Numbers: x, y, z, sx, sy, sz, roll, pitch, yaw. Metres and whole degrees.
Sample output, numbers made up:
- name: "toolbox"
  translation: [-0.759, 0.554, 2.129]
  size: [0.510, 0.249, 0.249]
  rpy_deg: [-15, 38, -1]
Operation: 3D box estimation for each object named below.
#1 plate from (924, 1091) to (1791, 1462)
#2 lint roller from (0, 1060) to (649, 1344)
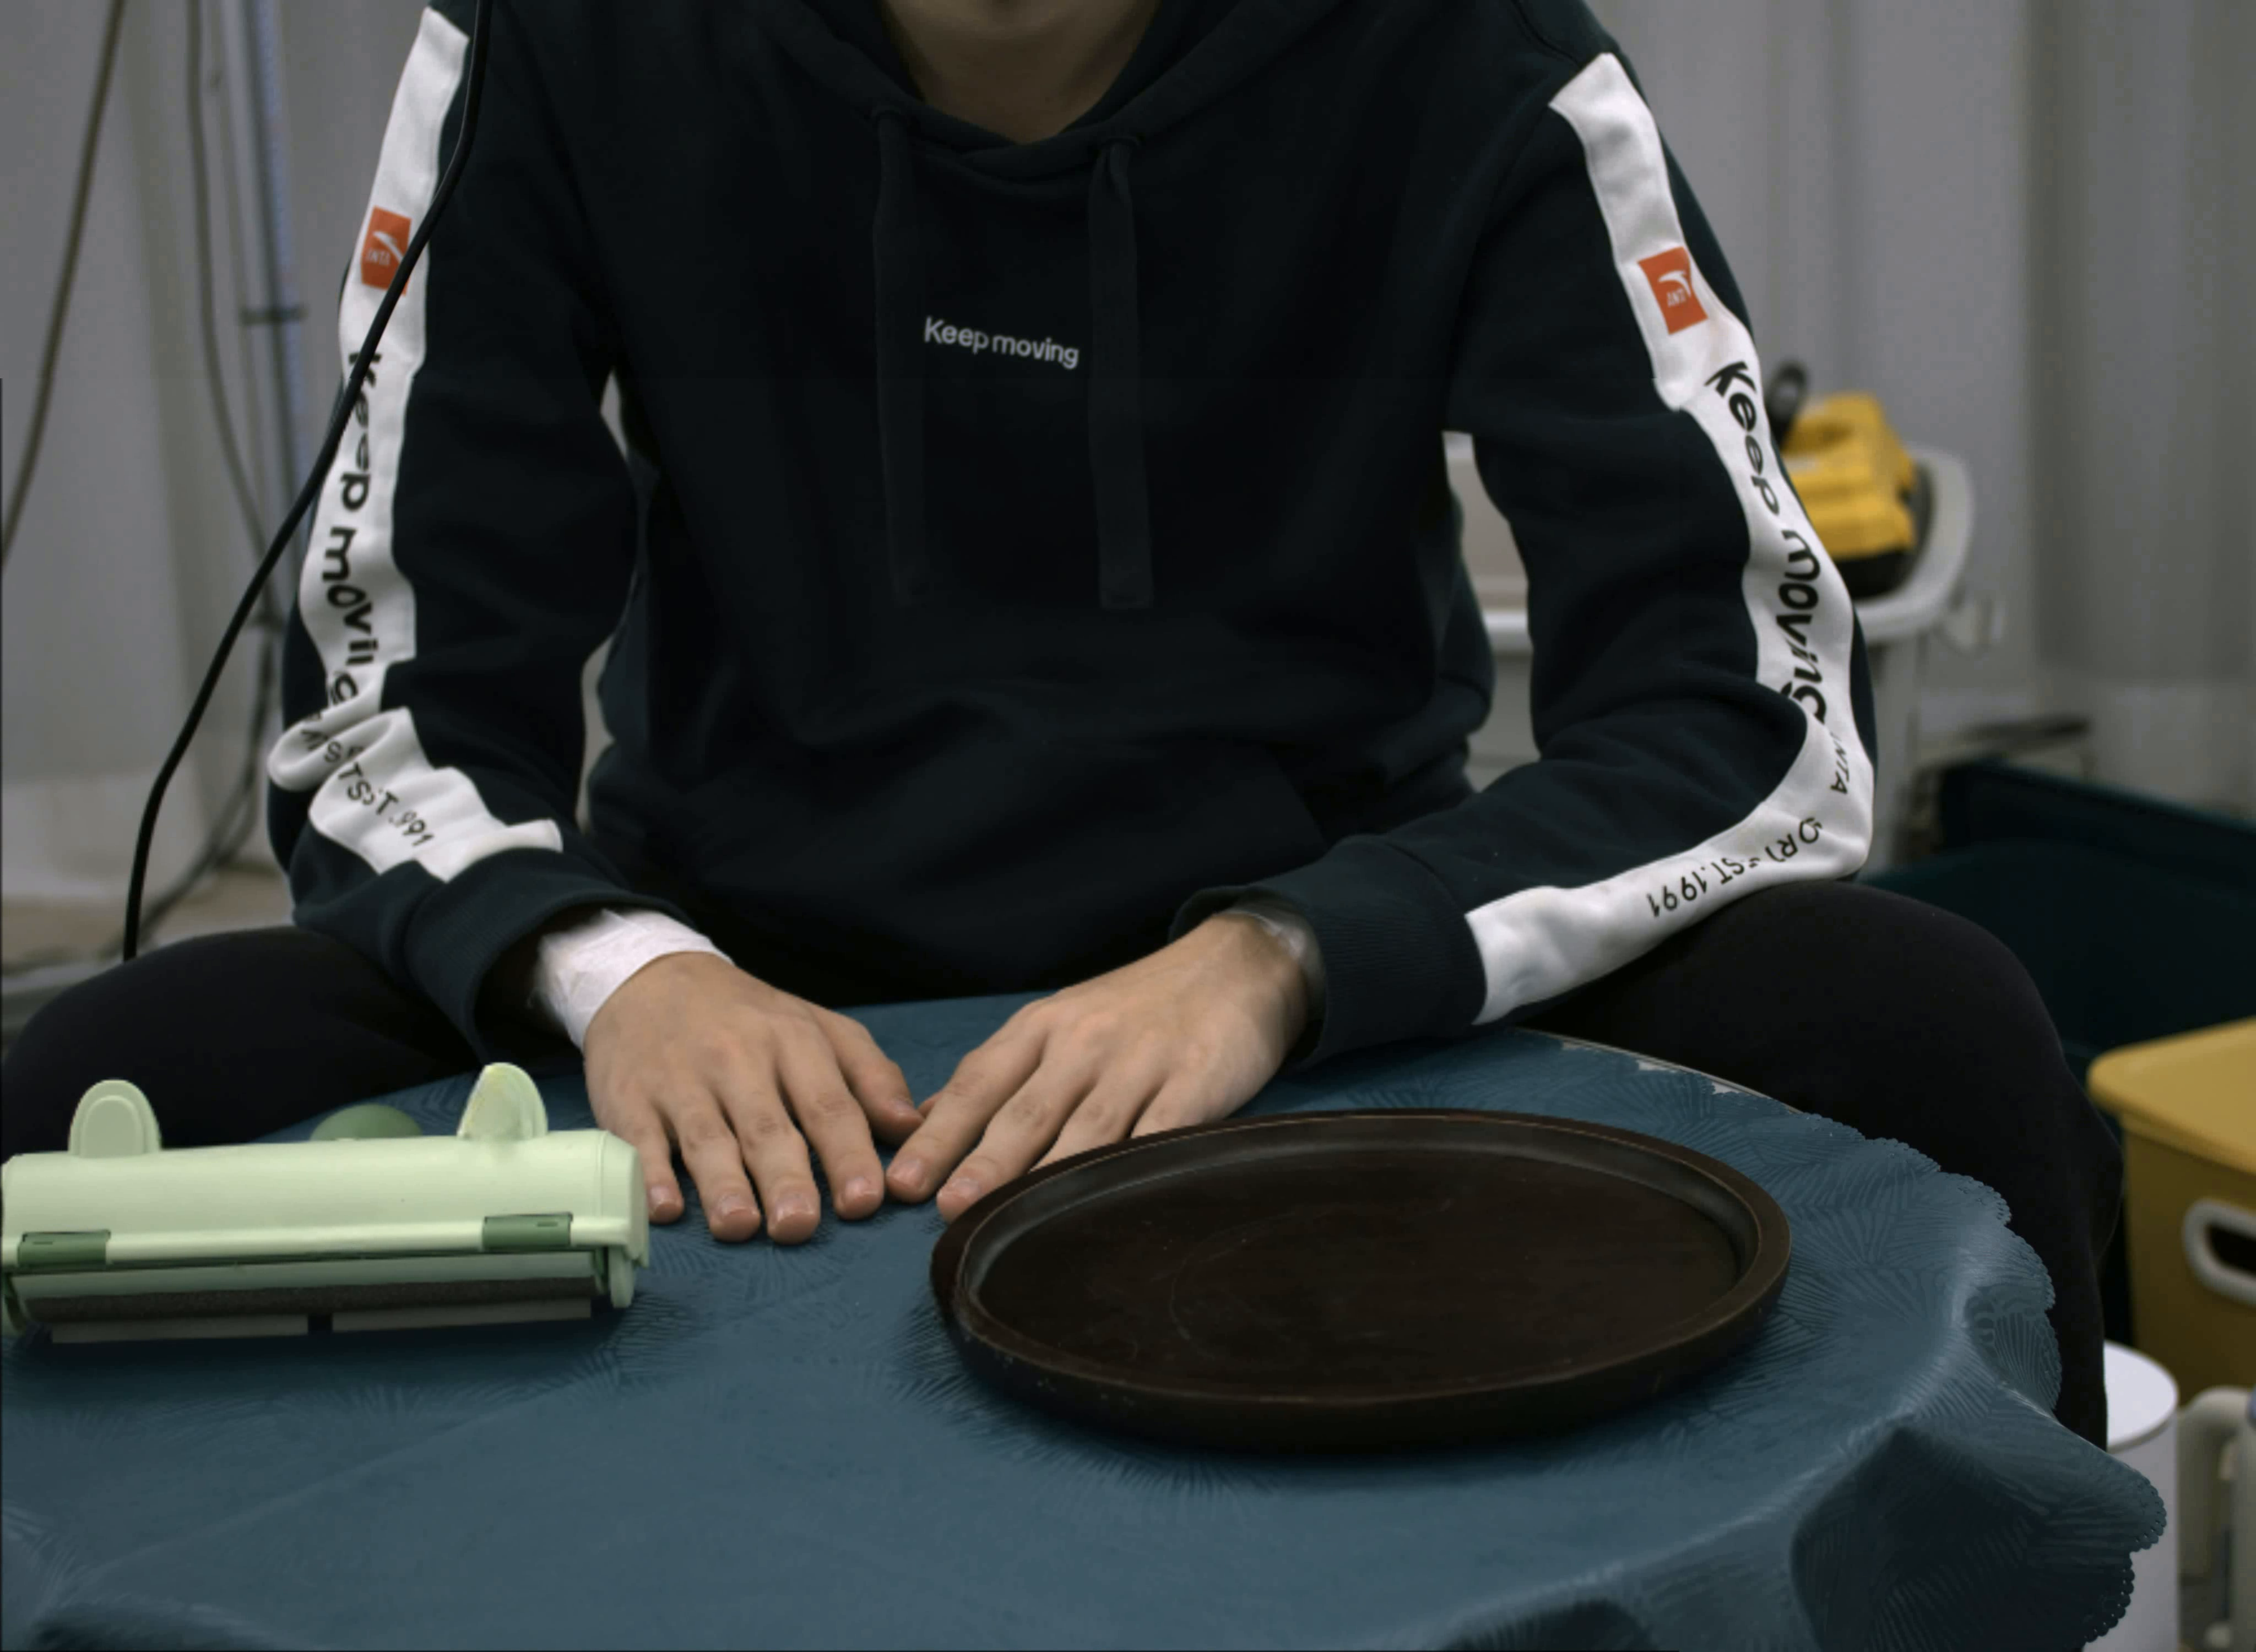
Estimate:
- name: "plate"
  translation: [0.067, 0.131, 1.592]
  size: [0.254, 0.029, 0.256]
  rpy_deg: [-4, 15, 1]
- name: "lint roller"
  translation: [-0.242, 0.097, 1.675]
  size: [0.198, 0.082, 0.185]
  rpy_deg: [-3, 18, 1]
